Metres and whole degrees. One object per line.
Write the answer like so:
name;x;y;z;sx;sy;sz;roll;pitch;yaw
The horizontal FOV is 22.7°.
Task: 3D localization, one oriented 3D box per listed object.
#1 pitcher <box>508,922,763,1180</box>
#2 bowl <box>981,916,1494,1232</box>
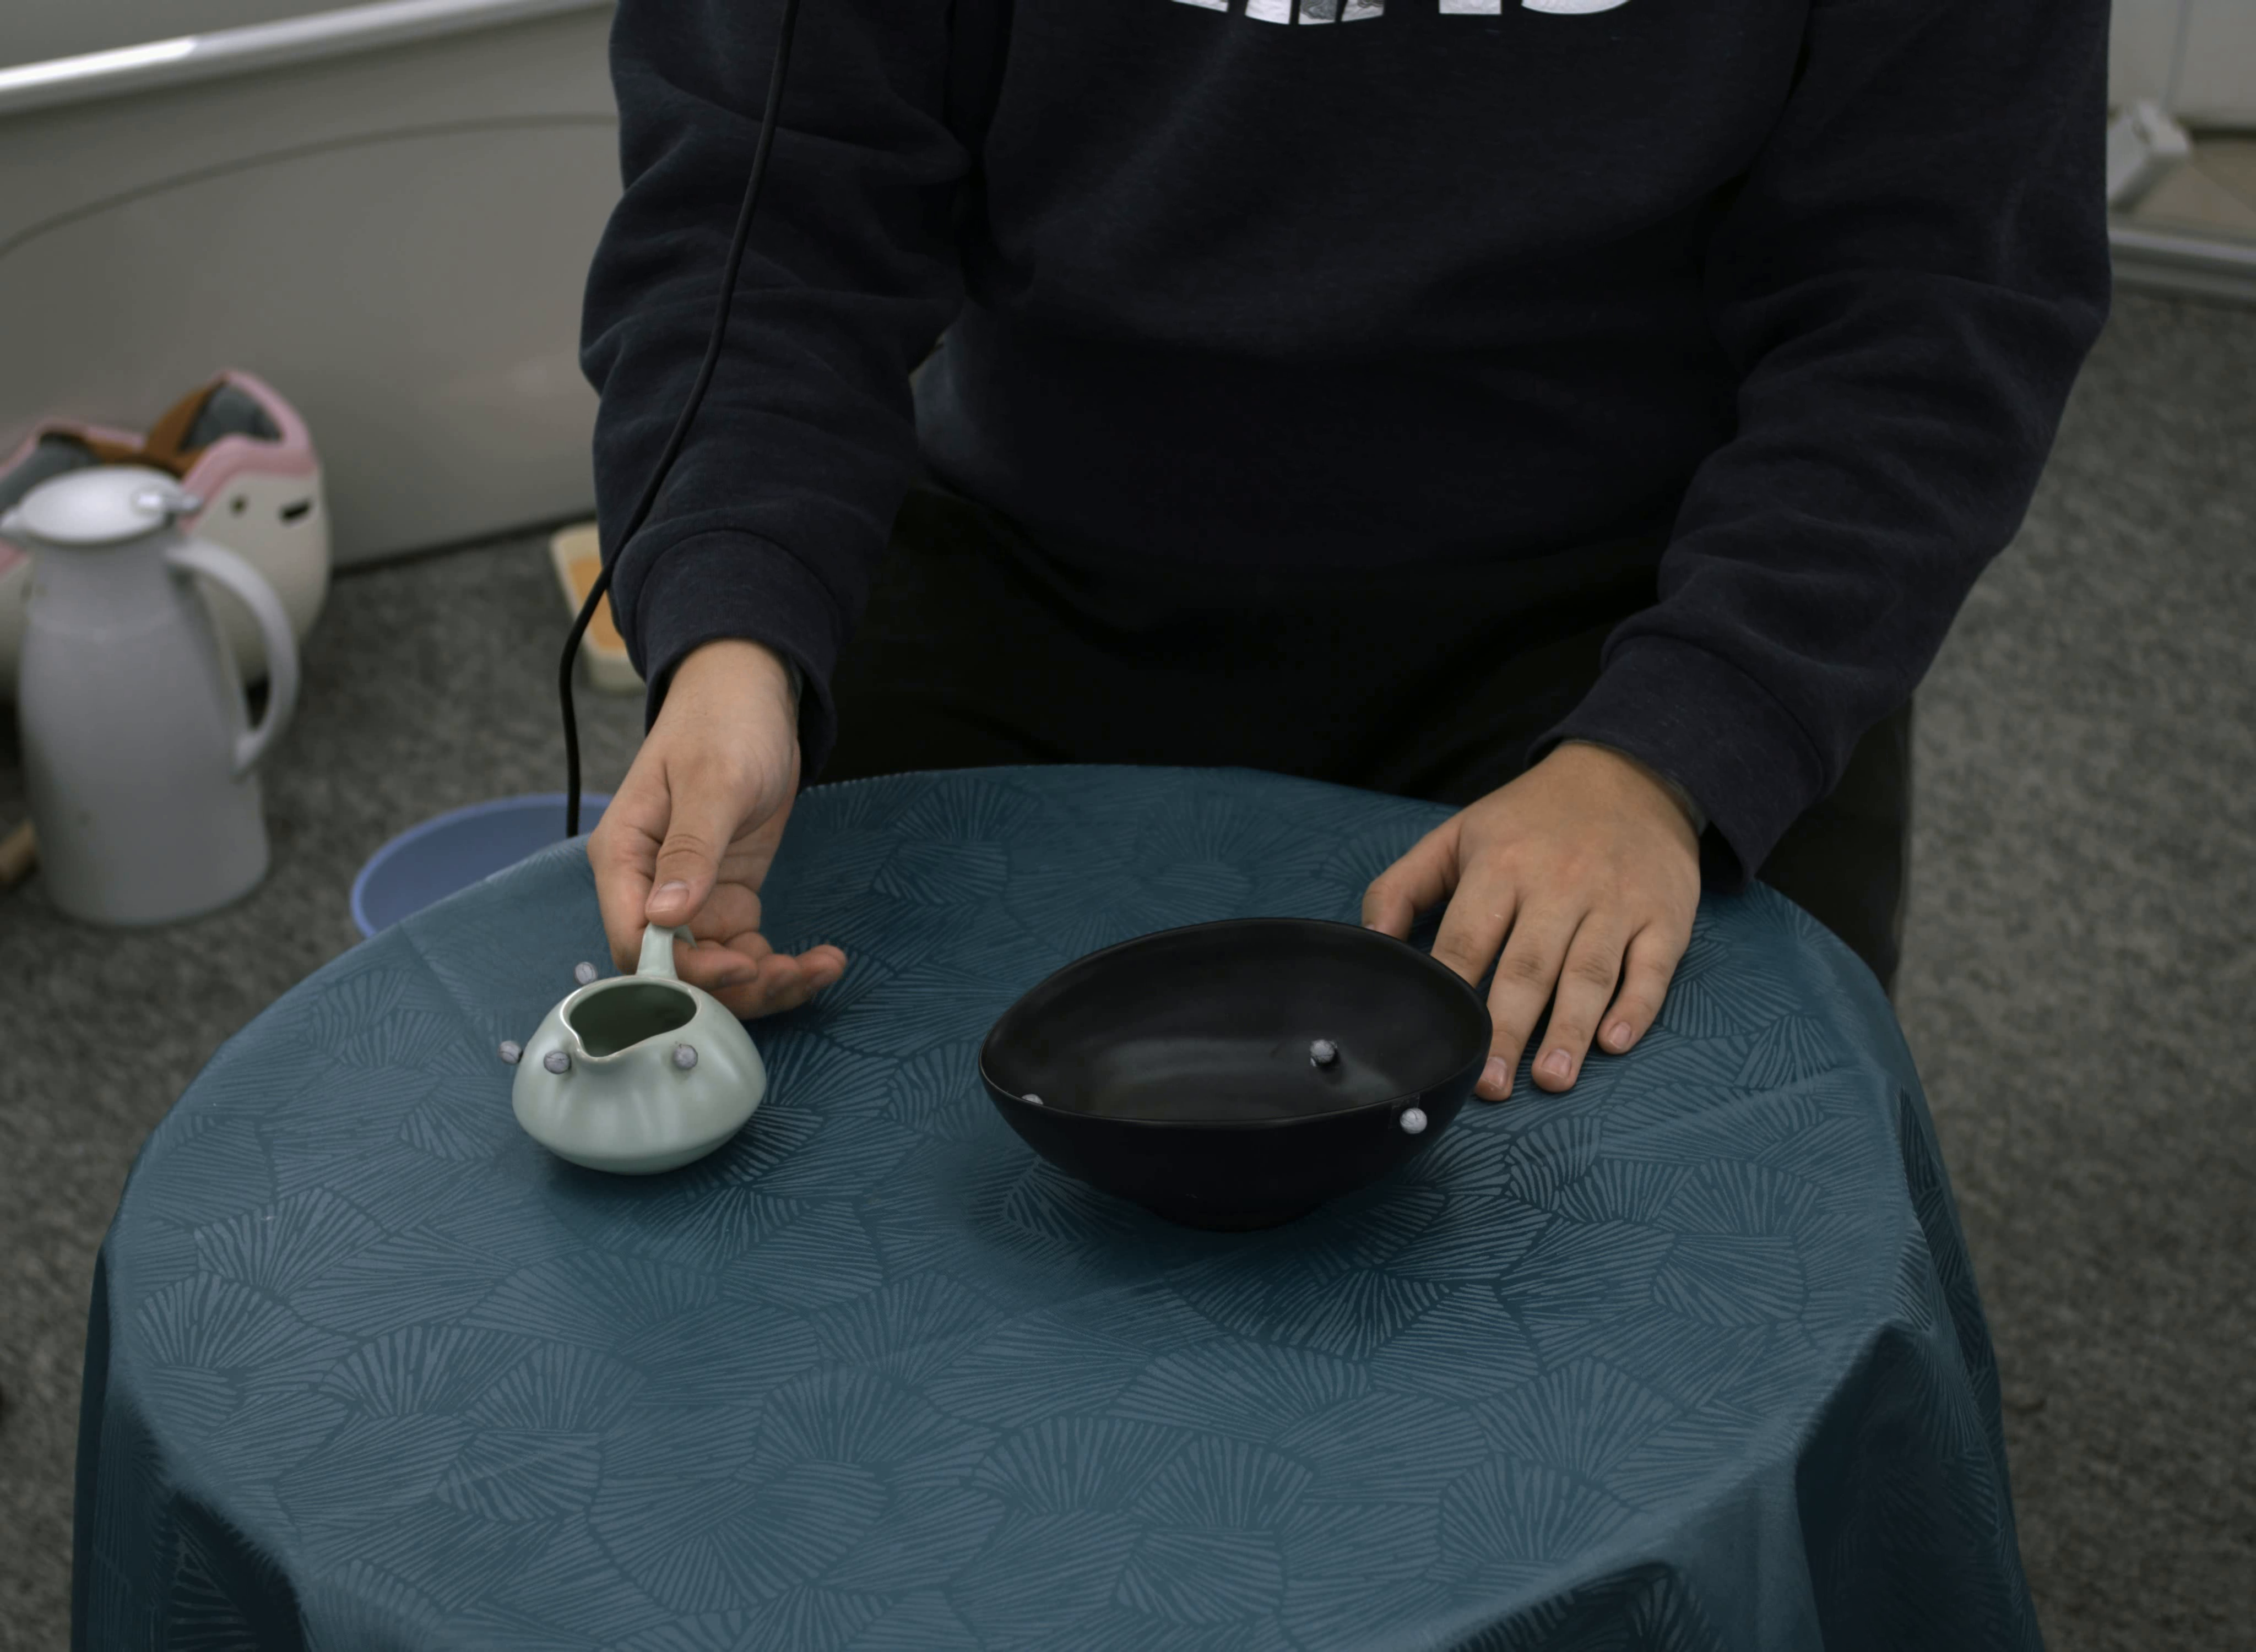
pitcher;-0.165;0.078;1.905;0.085;0.060;0.109;3;25;8
bowl;0.037;0.091;1.854;0.169;0.066;0.139;-2;26;2
